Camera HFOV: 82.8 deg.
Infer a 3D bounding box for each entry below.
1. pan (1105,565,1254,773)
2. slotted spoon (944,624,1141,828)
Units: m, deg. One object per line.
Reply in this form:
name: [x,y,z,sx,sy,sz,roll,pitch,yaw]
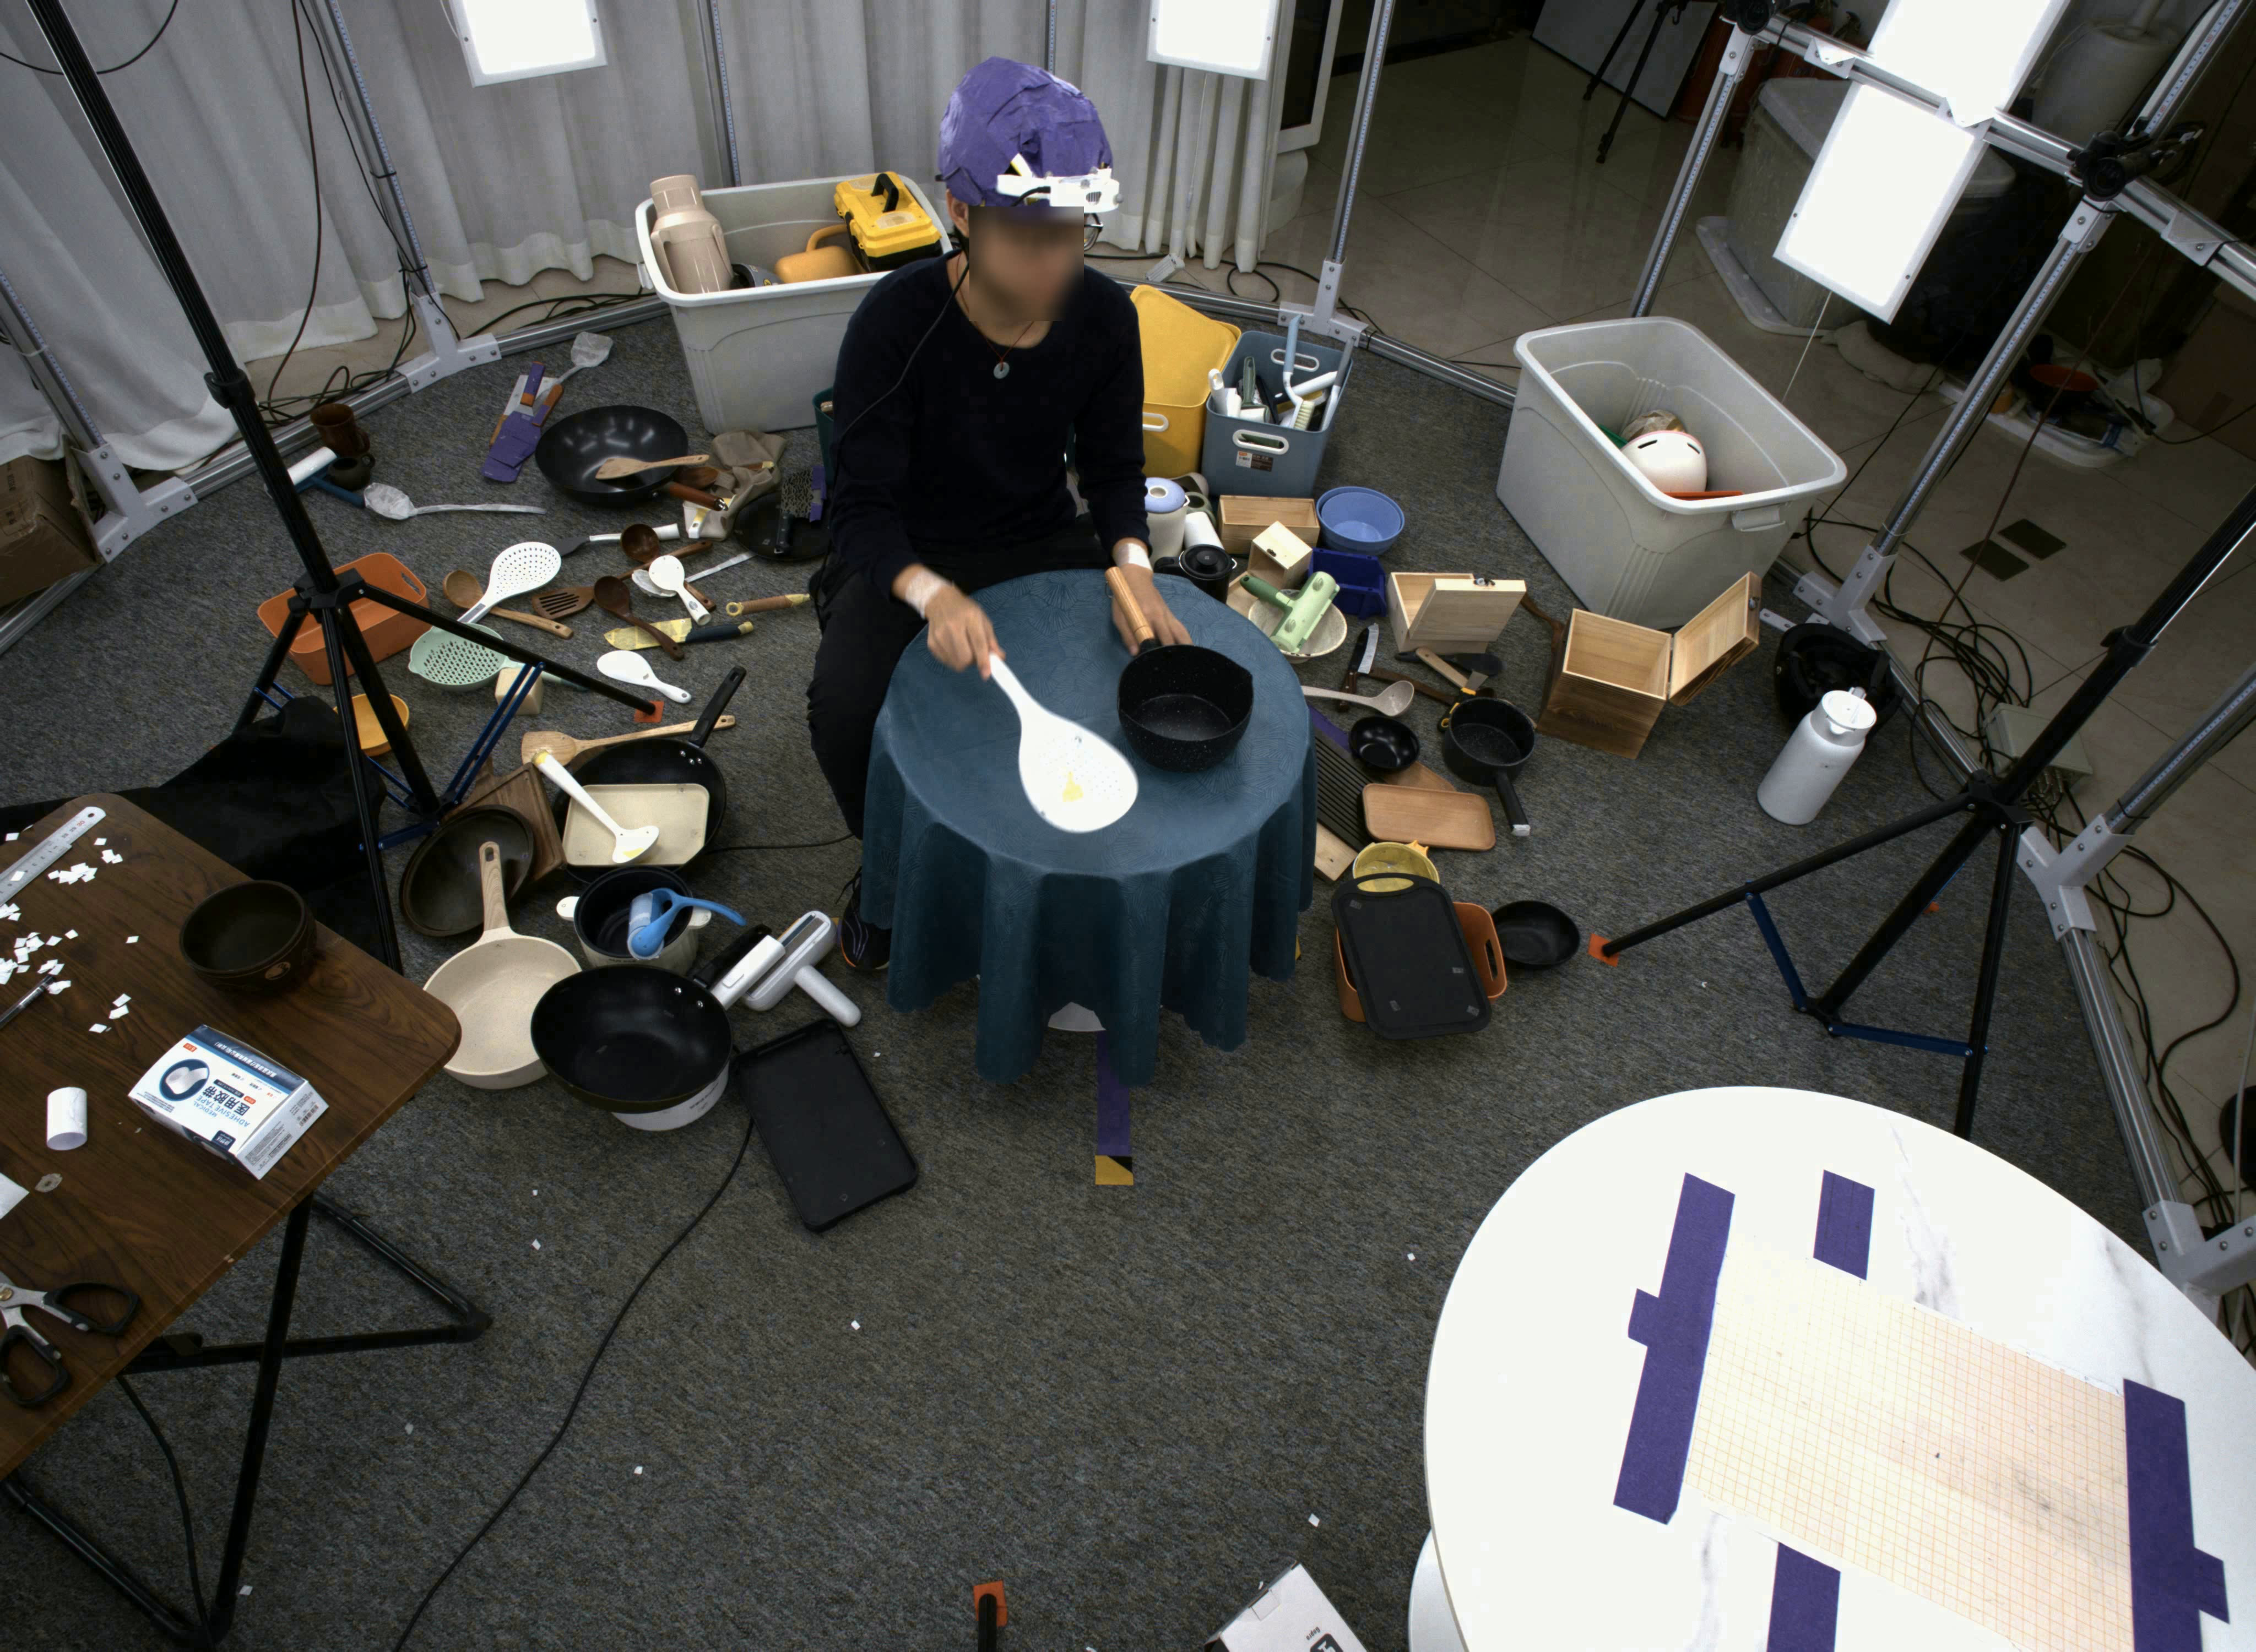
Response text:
pan: [0.042,-0.220,1.793,0.208,0.105,0.350,-18,54,-18]
slotted spoon: [-0.120,-0.136,1.593,0.137,0.049,0.352,-28,72,-26]
